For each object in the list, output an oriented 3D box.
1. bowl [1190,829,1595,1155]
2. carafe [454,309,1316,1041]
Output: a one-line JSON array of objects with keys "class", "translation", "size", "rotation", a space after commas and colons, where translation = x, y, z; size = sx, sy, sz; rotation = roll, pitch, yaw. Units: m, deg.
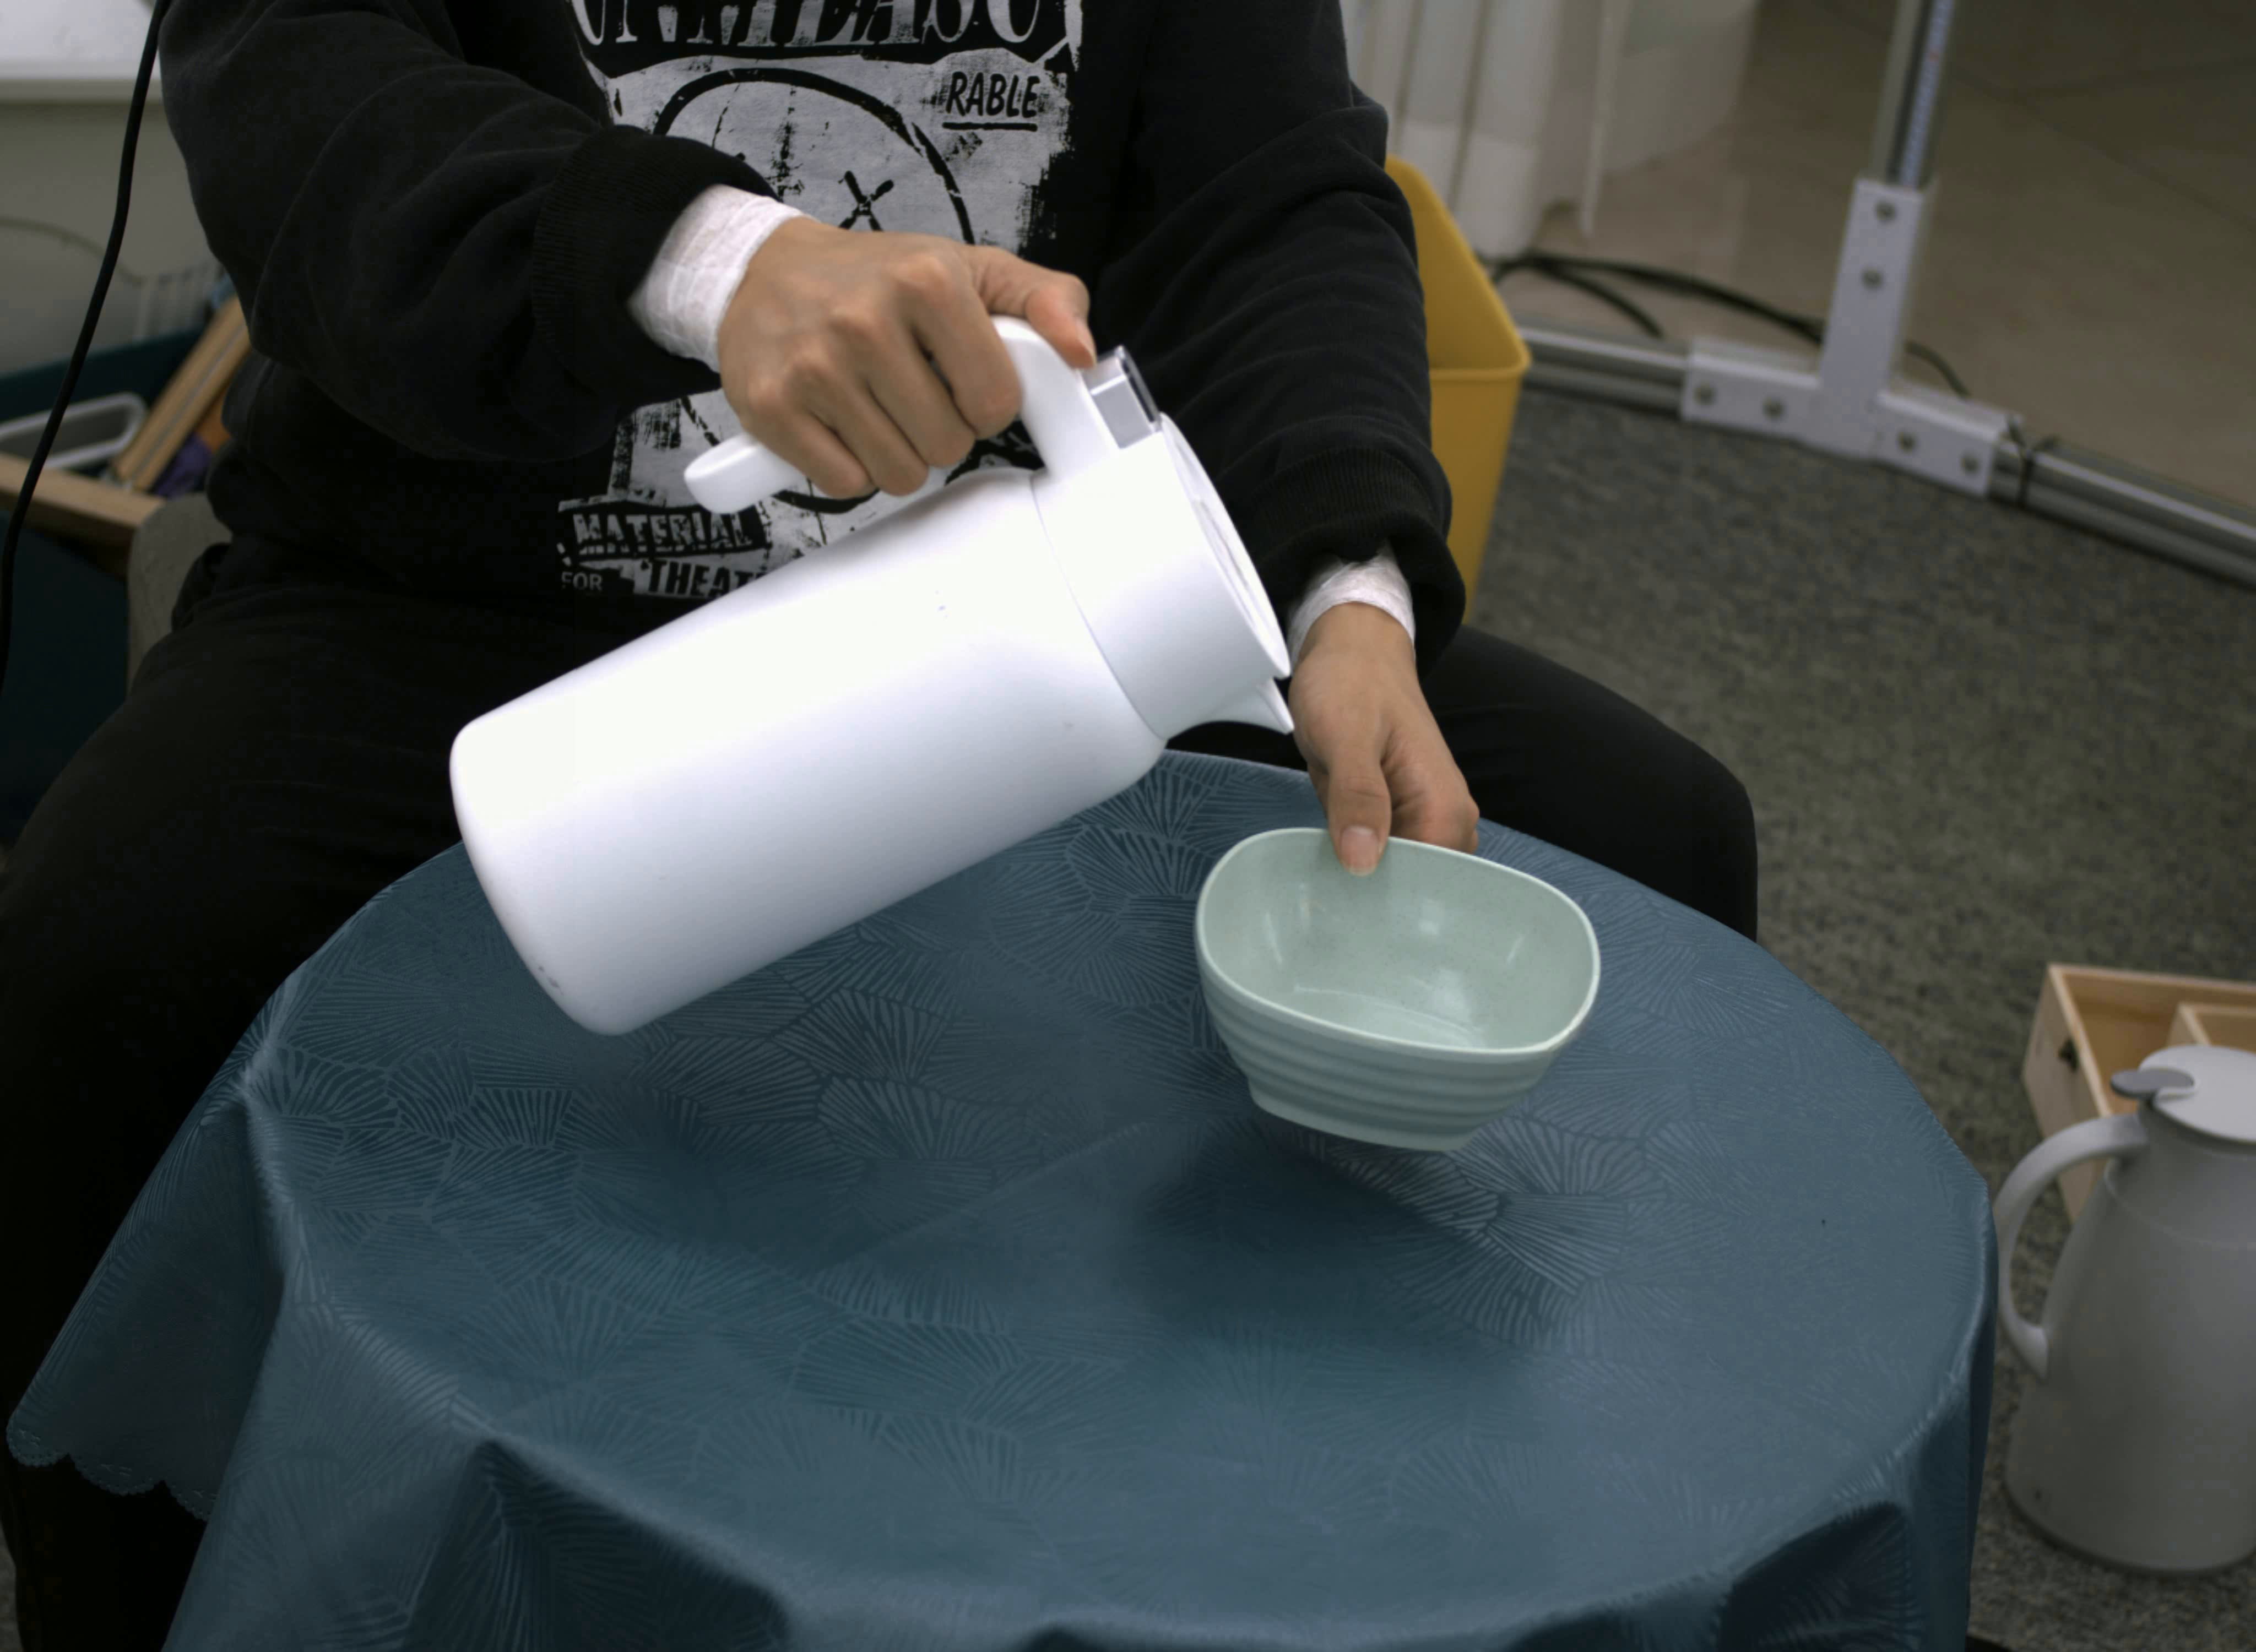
[{"class": "bowl", "translation": [0.086, 0.063, 1.813], "size": [0.151, 0.058, 0.152], "rotation": [8, 28, -5]}, {"class": "carafe", "translation": [-0.092, -0.050, 1.762], "size": [0.268, 0.172, 0.124], "rotation": [-26, 19, 11]}]
